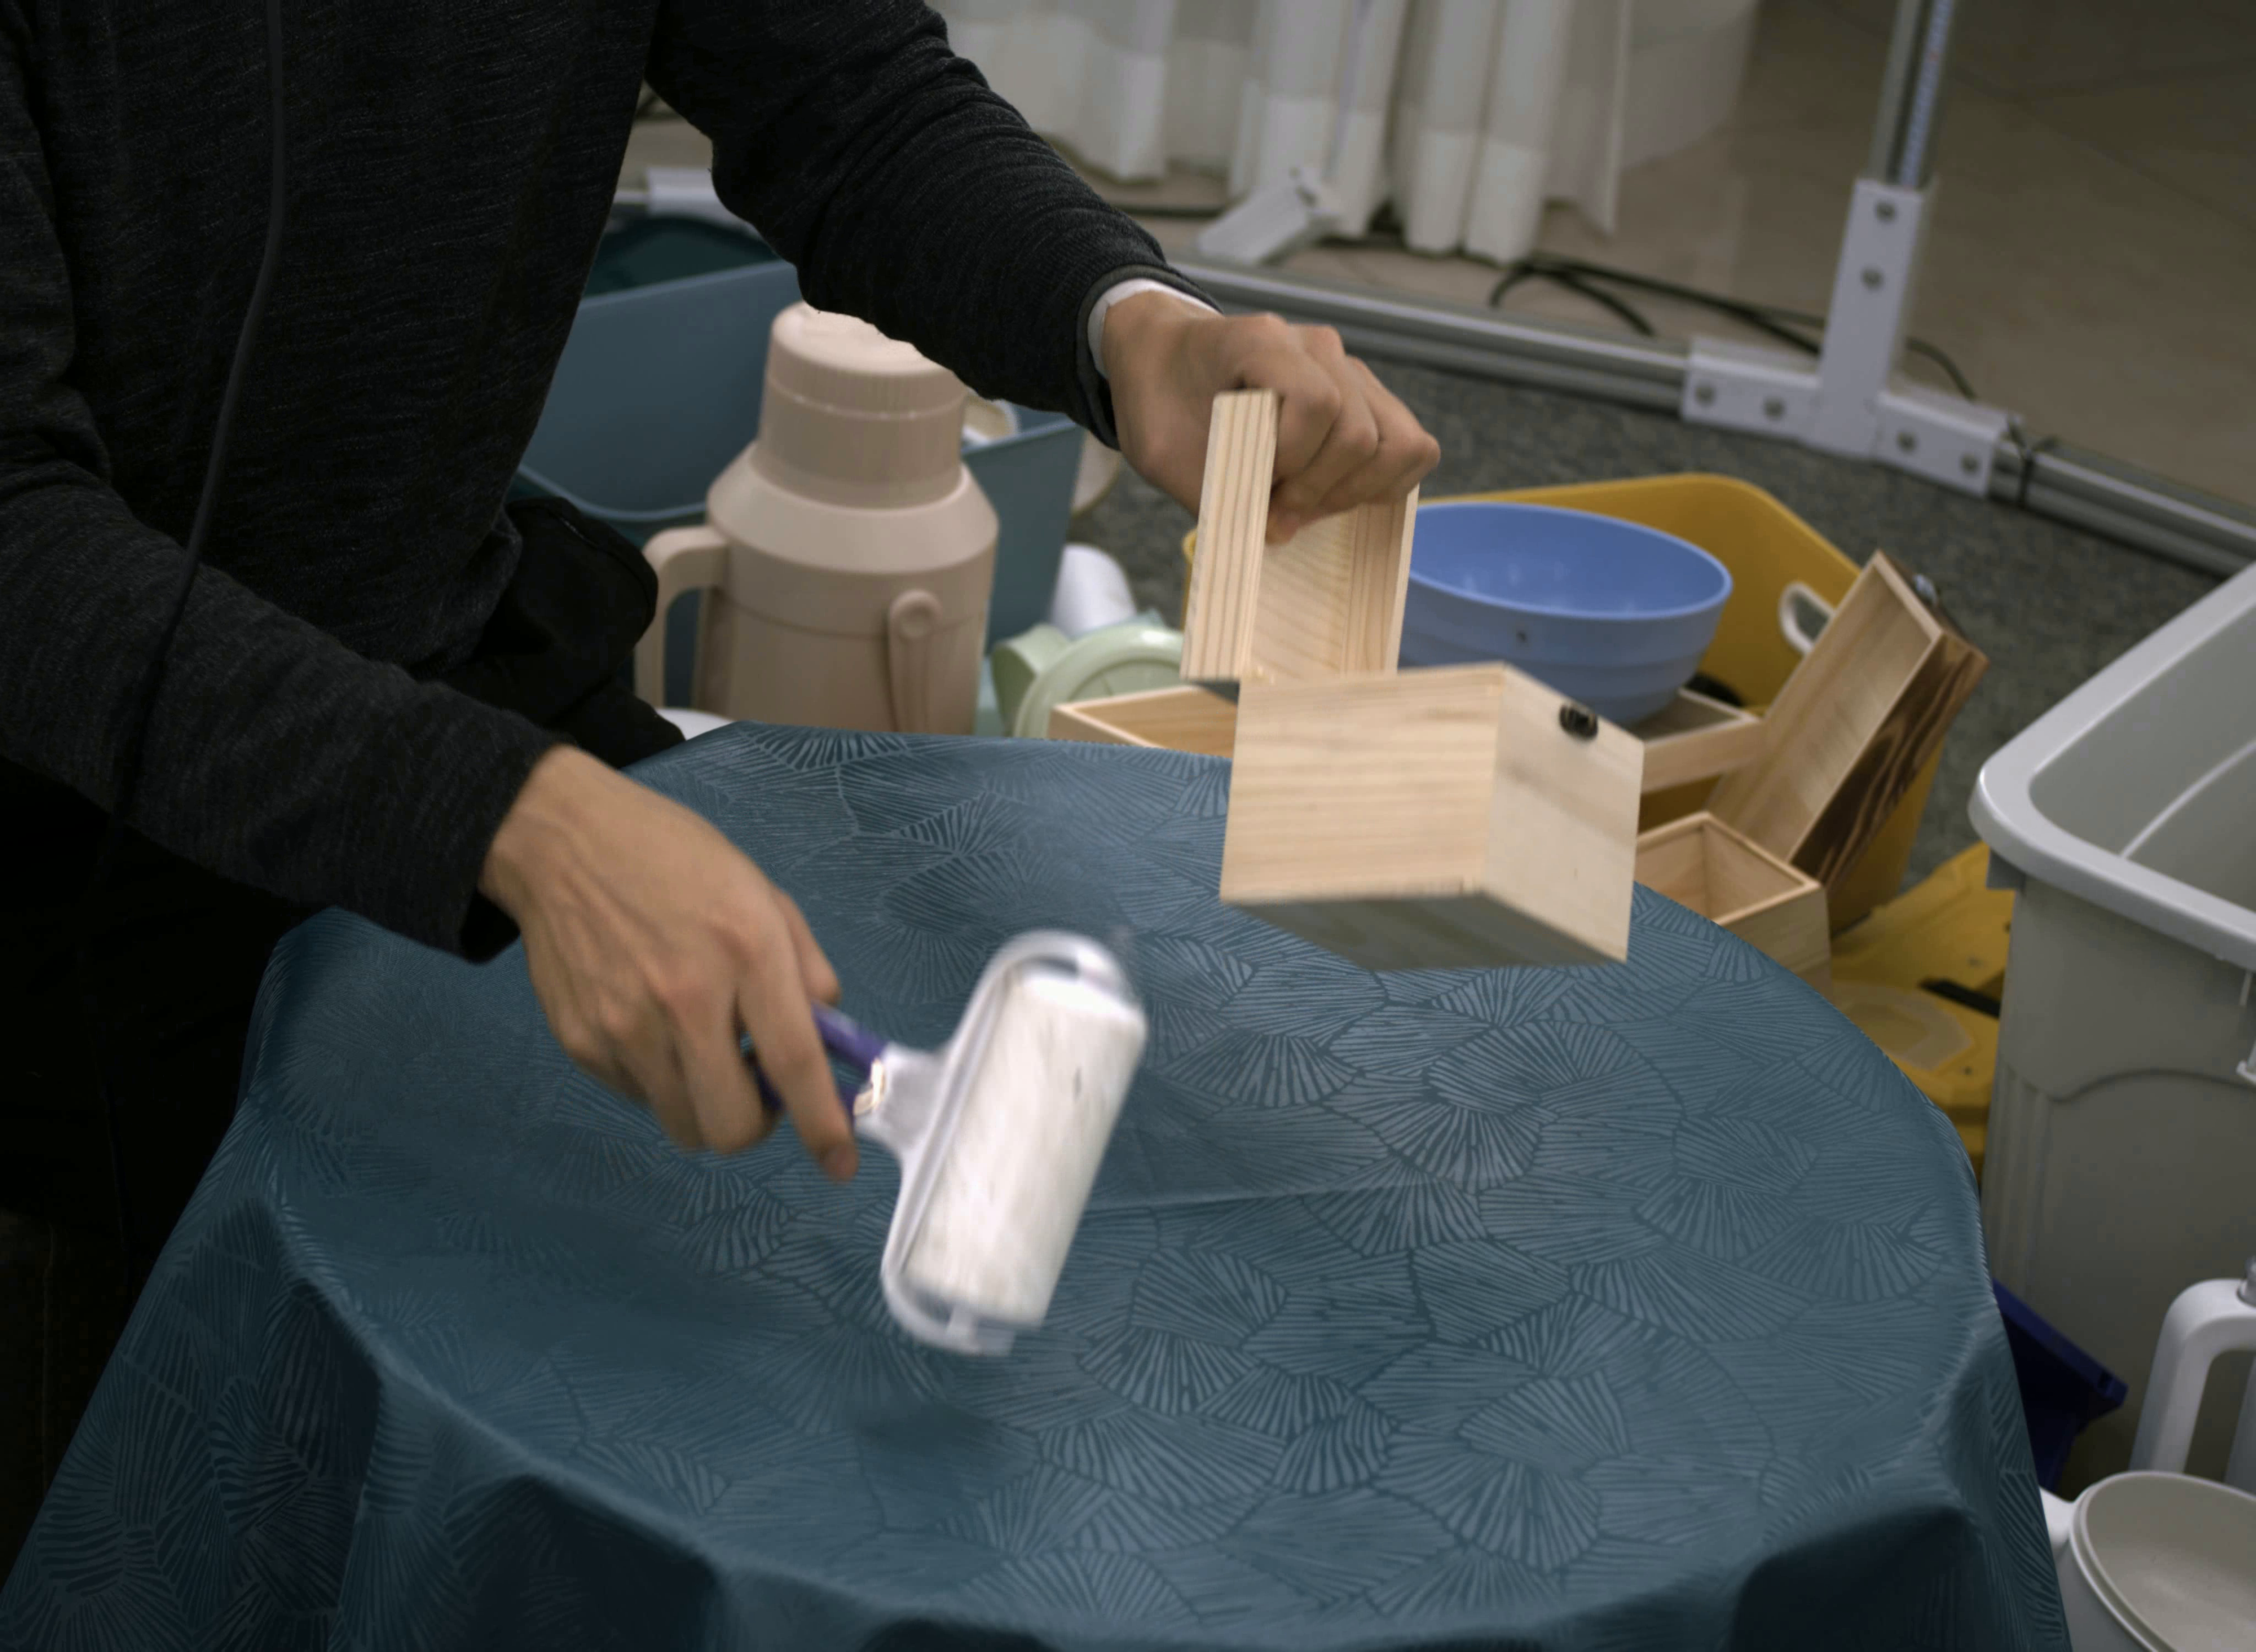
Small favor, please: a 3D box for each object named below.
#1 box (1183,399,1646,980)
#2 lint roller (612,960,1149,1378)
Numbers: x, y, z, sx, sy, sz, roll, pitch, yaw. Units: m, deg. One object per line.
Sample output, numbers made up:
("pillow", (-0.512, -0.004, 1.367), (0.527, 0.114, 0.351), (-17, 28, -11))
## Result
("box", (0.100, -0.049, 1.798), (0.134, 0.185, 0.101), (-4, -16, 34))
("lint roller", (-0.090, 0.084, 1.677), (0.181, 0.133, 0.050), (23, -1, 18))
